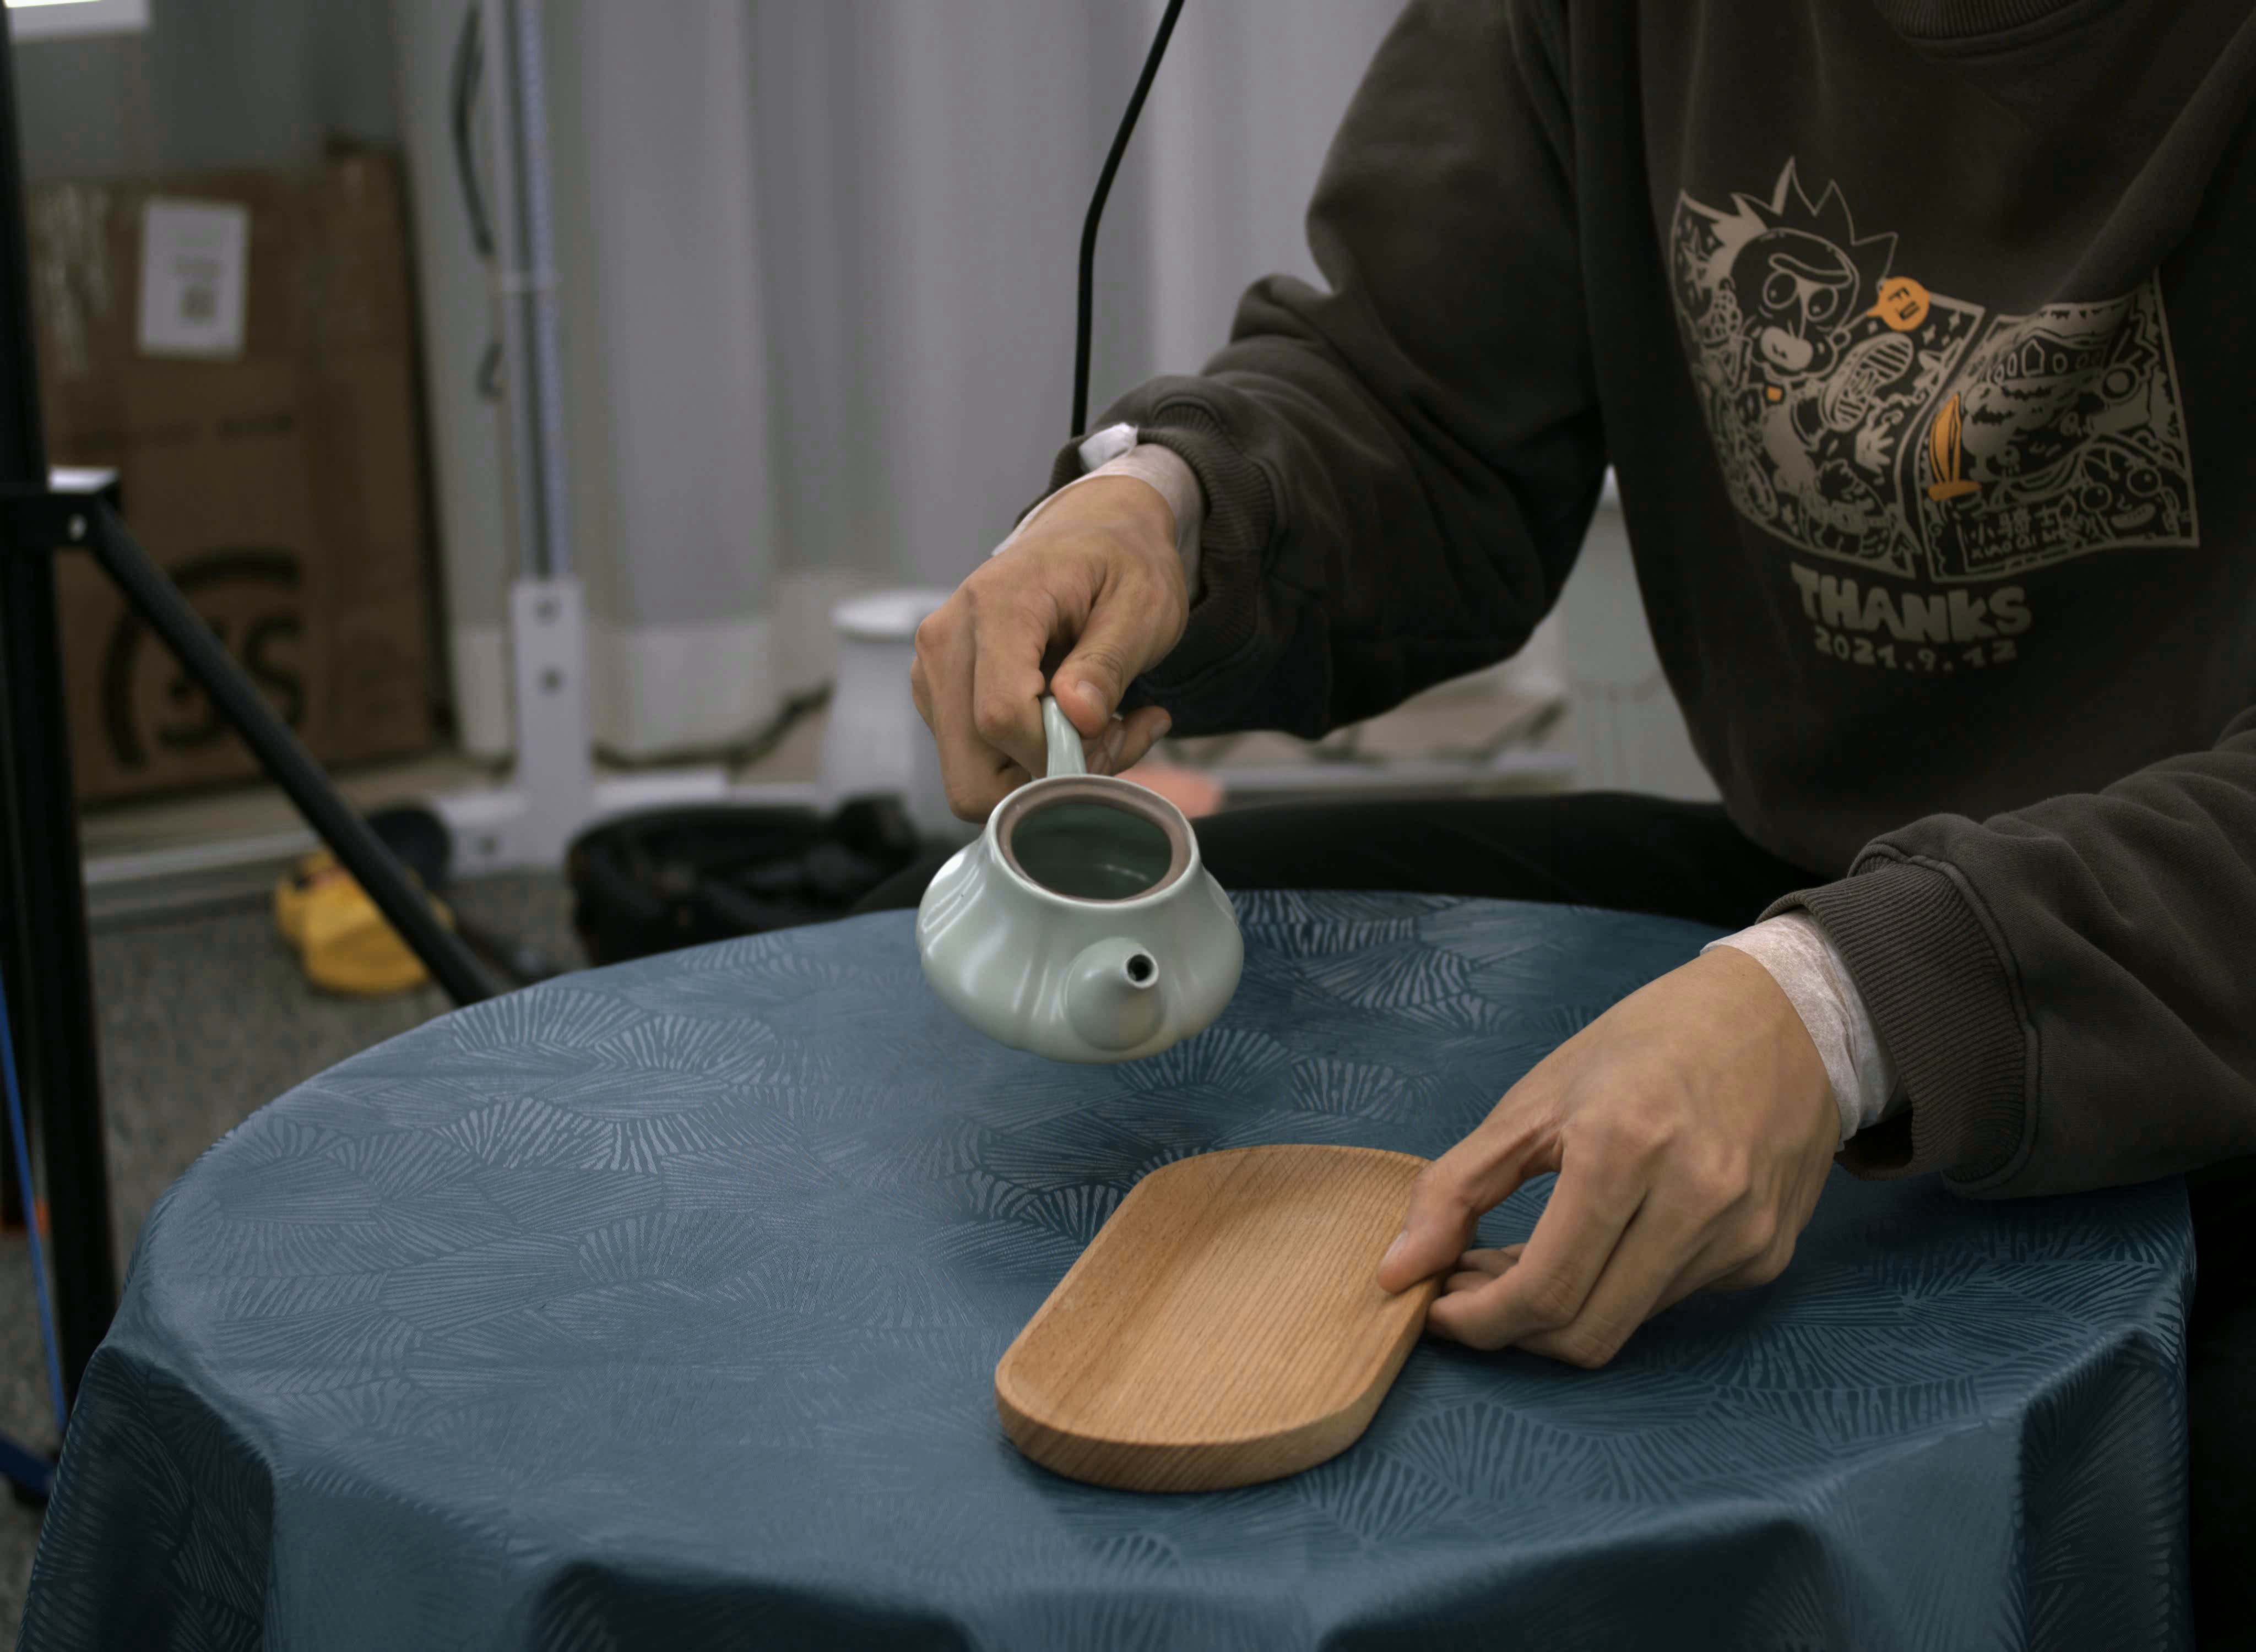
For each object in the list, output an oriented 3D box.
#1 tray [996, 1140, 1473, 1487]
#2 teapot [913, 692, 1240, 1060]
[{"bbox_3d":[0.032,0.130,1.447,0.102,0.020,0.229,2,15,14],"label":"tray"},{"bbox_3d":[-0.015,0.020,1.556,0.095,0.061,0.139,-6,41,-14],"label":"teapot"}]
